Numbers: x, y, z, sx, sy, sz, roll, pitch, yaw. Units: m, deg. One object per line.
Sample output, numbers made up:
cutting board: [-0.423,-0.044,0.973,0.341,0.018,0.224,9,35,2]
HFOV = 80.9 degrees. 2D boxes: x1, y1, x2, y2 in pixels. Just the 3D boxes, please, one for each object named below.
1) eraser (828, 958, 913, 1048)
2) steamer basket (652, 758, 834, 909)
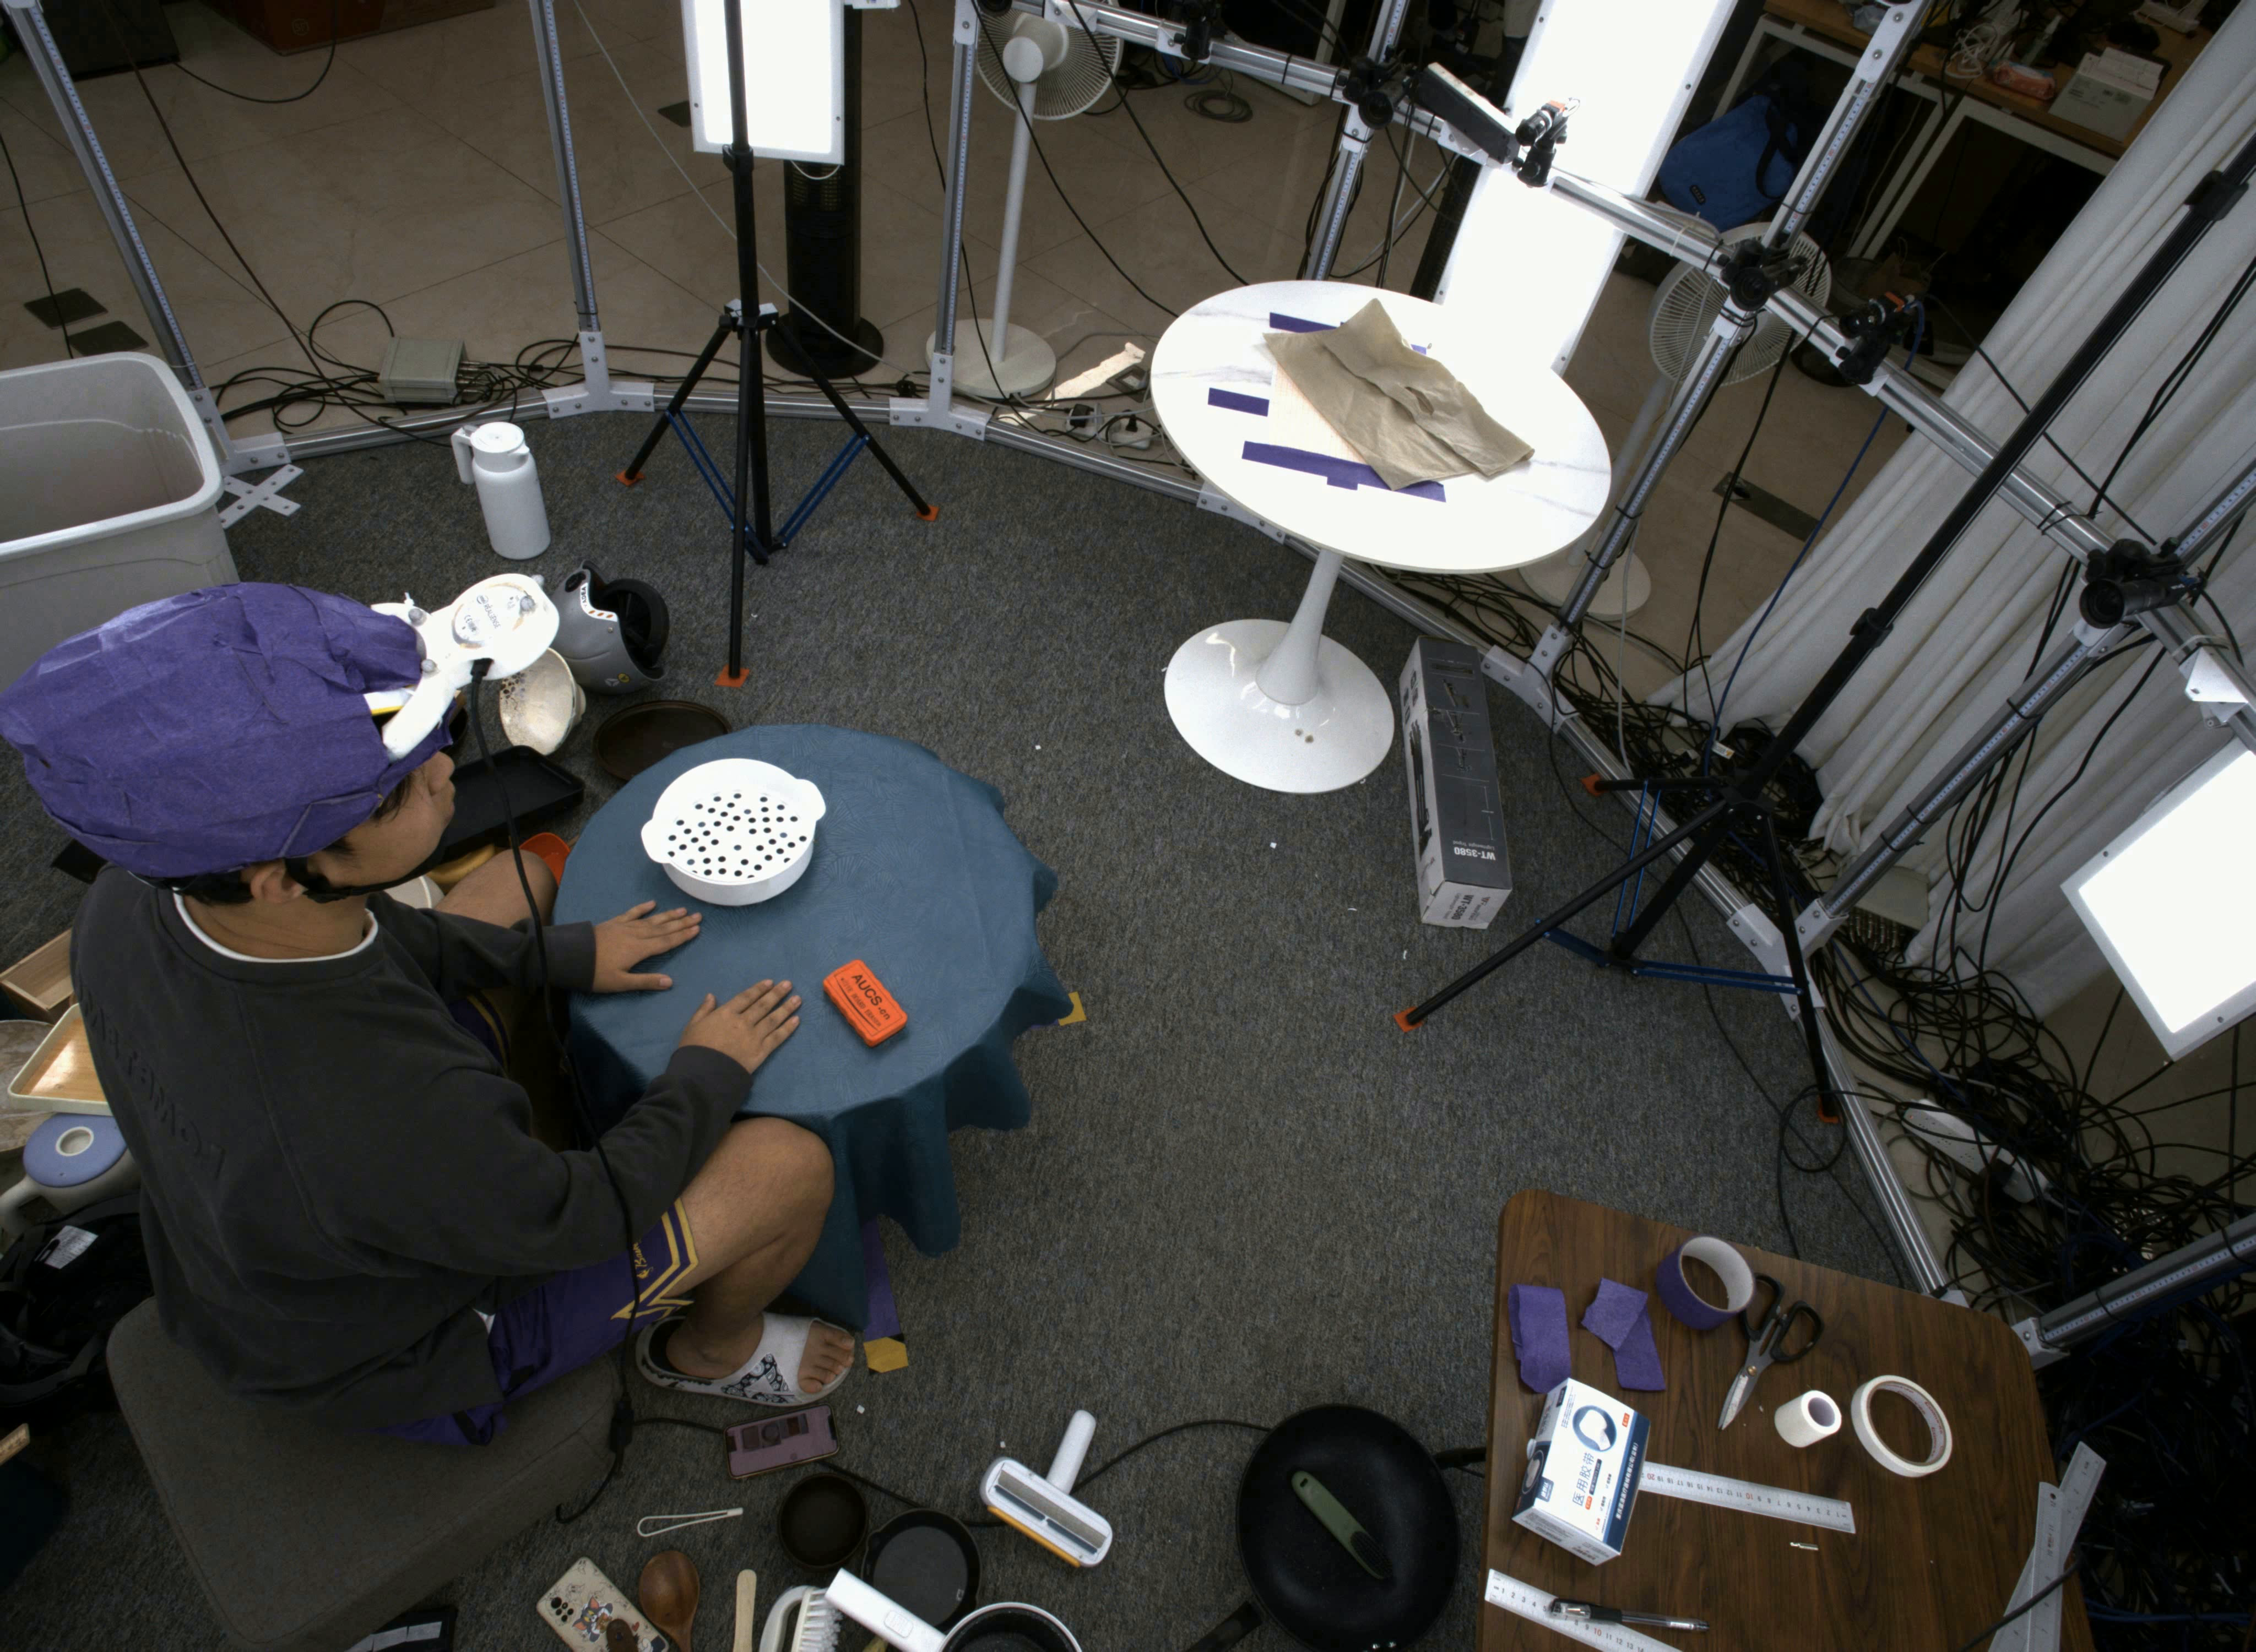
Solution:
eraser: [-0.313,0.211,1.580,0.059,0.023,0.105,-35,70,-26]
steamer basket: [-0.492,0.008,1.664,0.232,0.070,0.197,-18,61,-26]
